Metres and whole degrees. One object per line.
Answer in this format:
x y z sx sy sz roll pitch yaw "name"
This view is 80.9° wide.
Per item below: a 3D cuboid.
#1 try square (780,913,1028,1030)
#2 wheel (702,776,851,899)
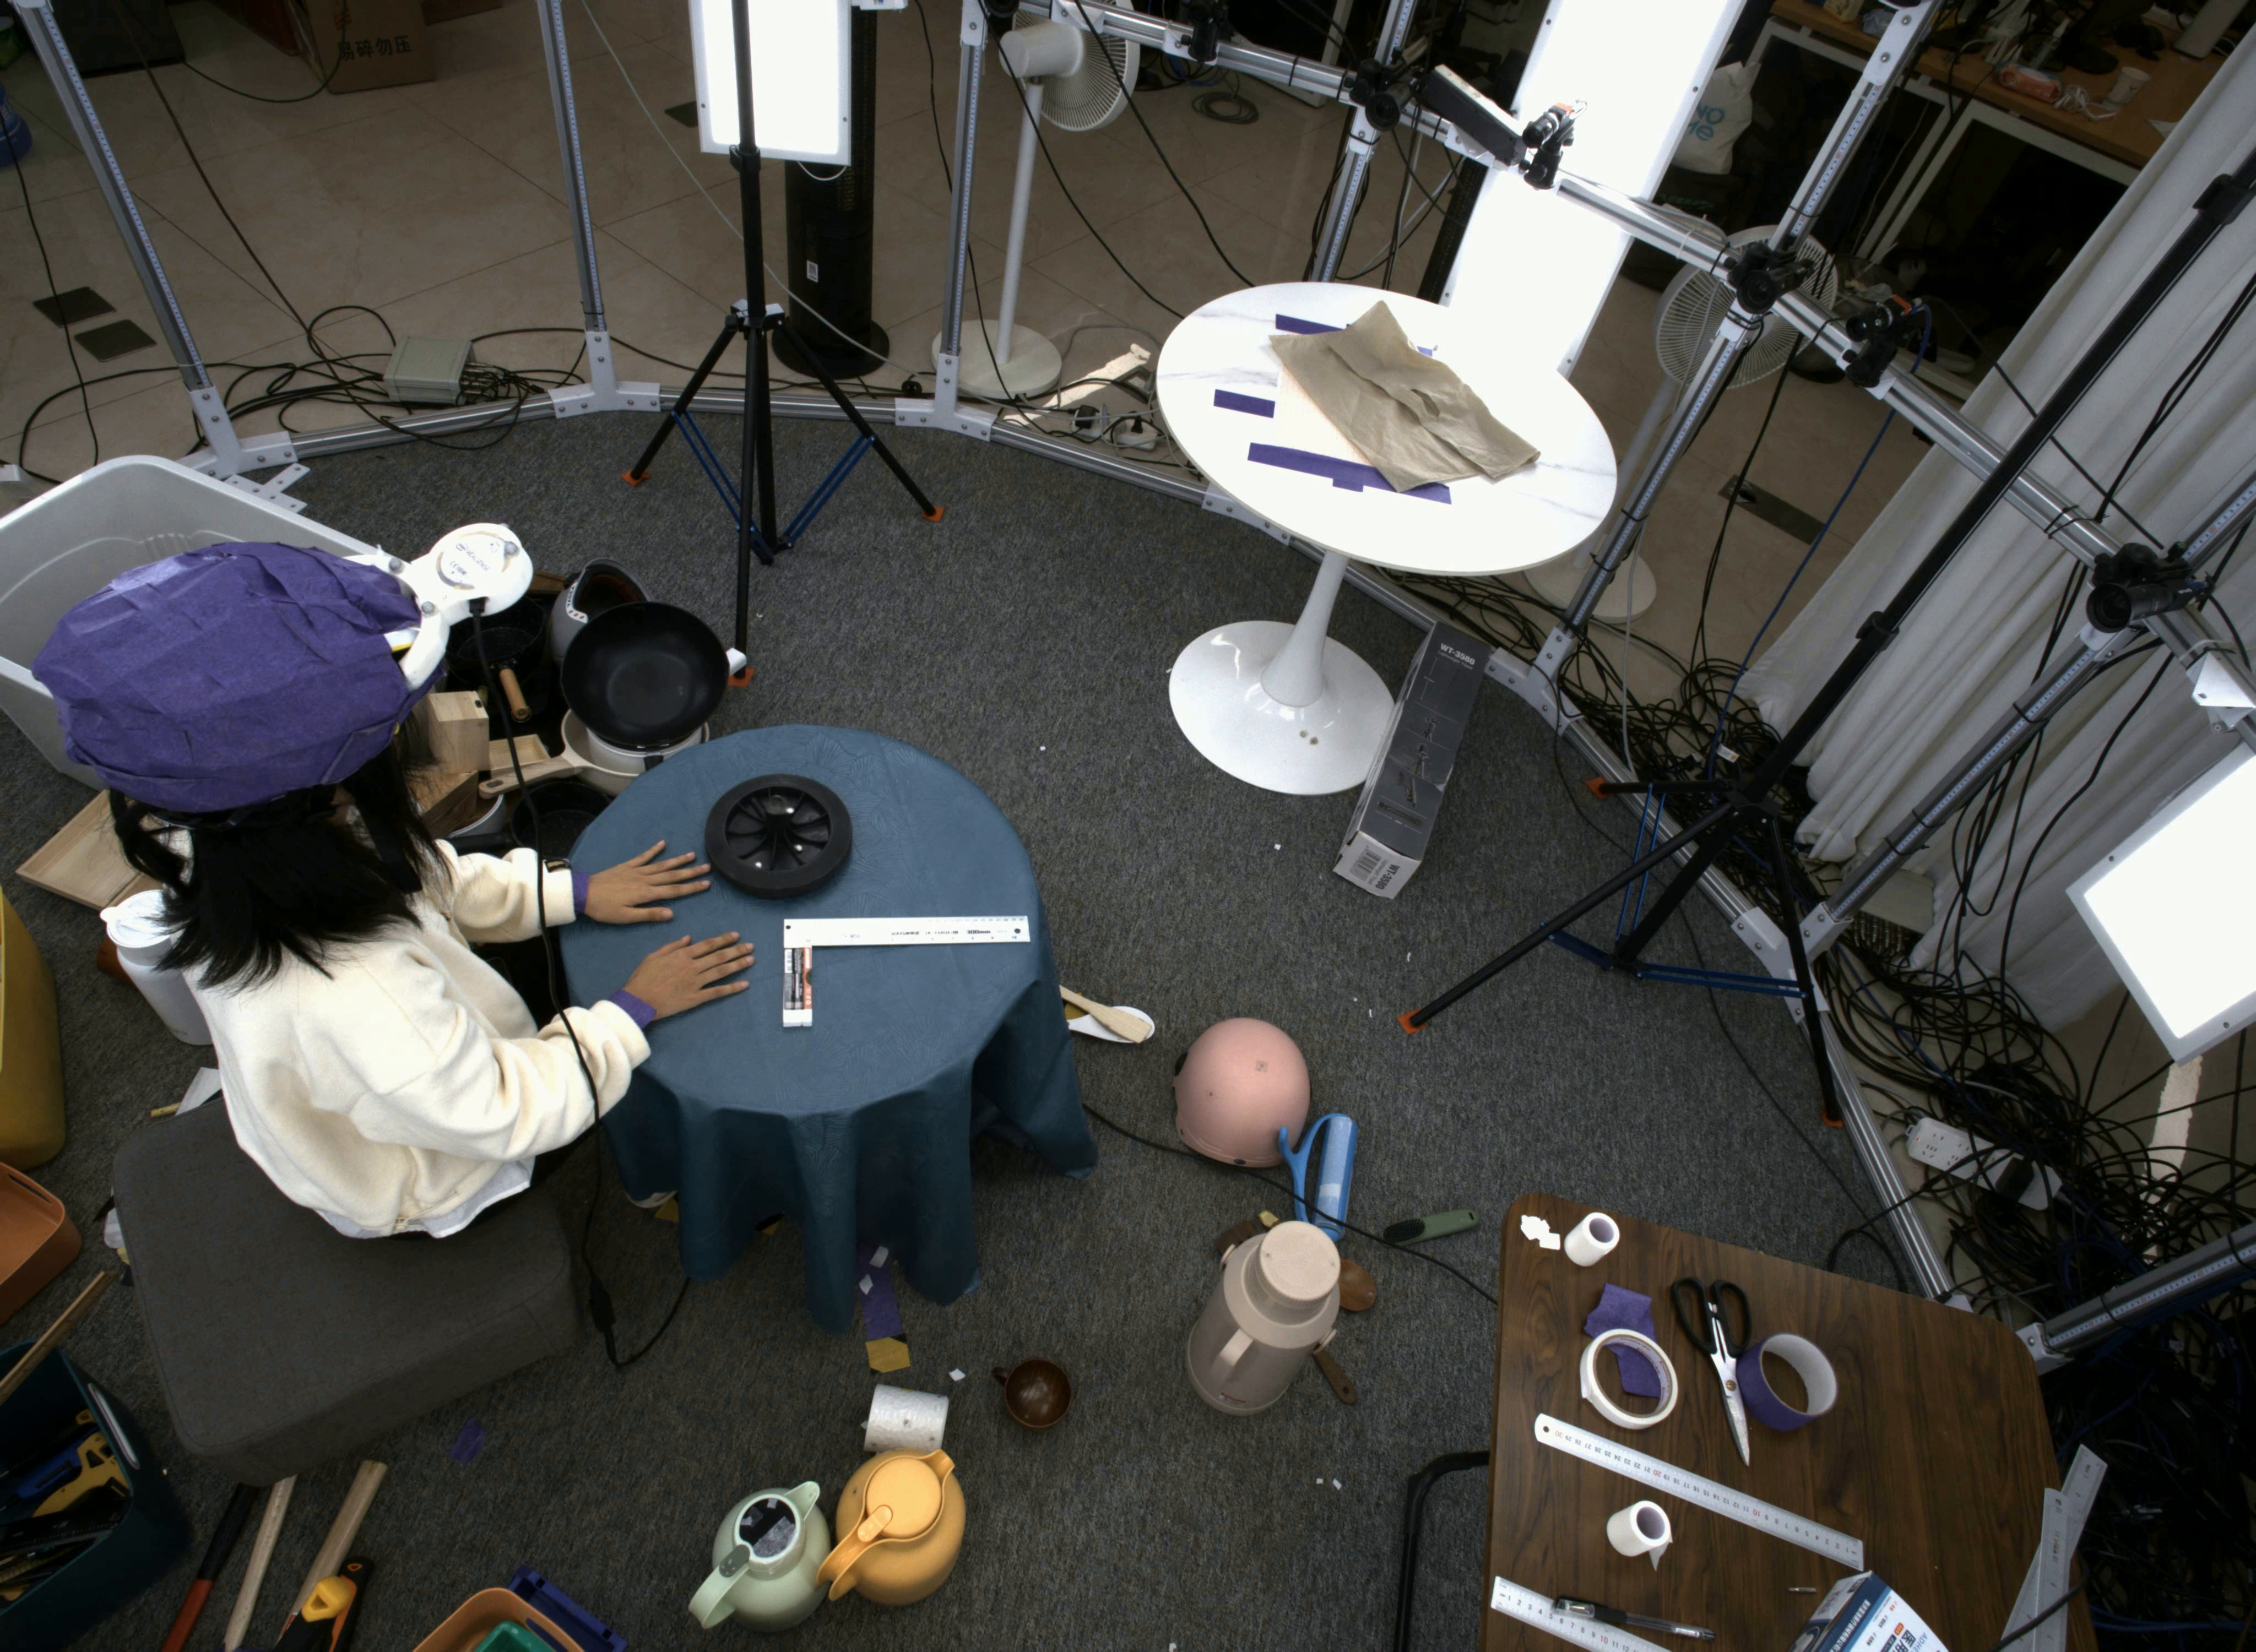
-0.275 0.176 1.625 0.314 0.016 0.149 0 57 -16 "try square"
-0.453 -0.002 1.664 0.187 0.081 0.186 28 53 8 "wheel"
